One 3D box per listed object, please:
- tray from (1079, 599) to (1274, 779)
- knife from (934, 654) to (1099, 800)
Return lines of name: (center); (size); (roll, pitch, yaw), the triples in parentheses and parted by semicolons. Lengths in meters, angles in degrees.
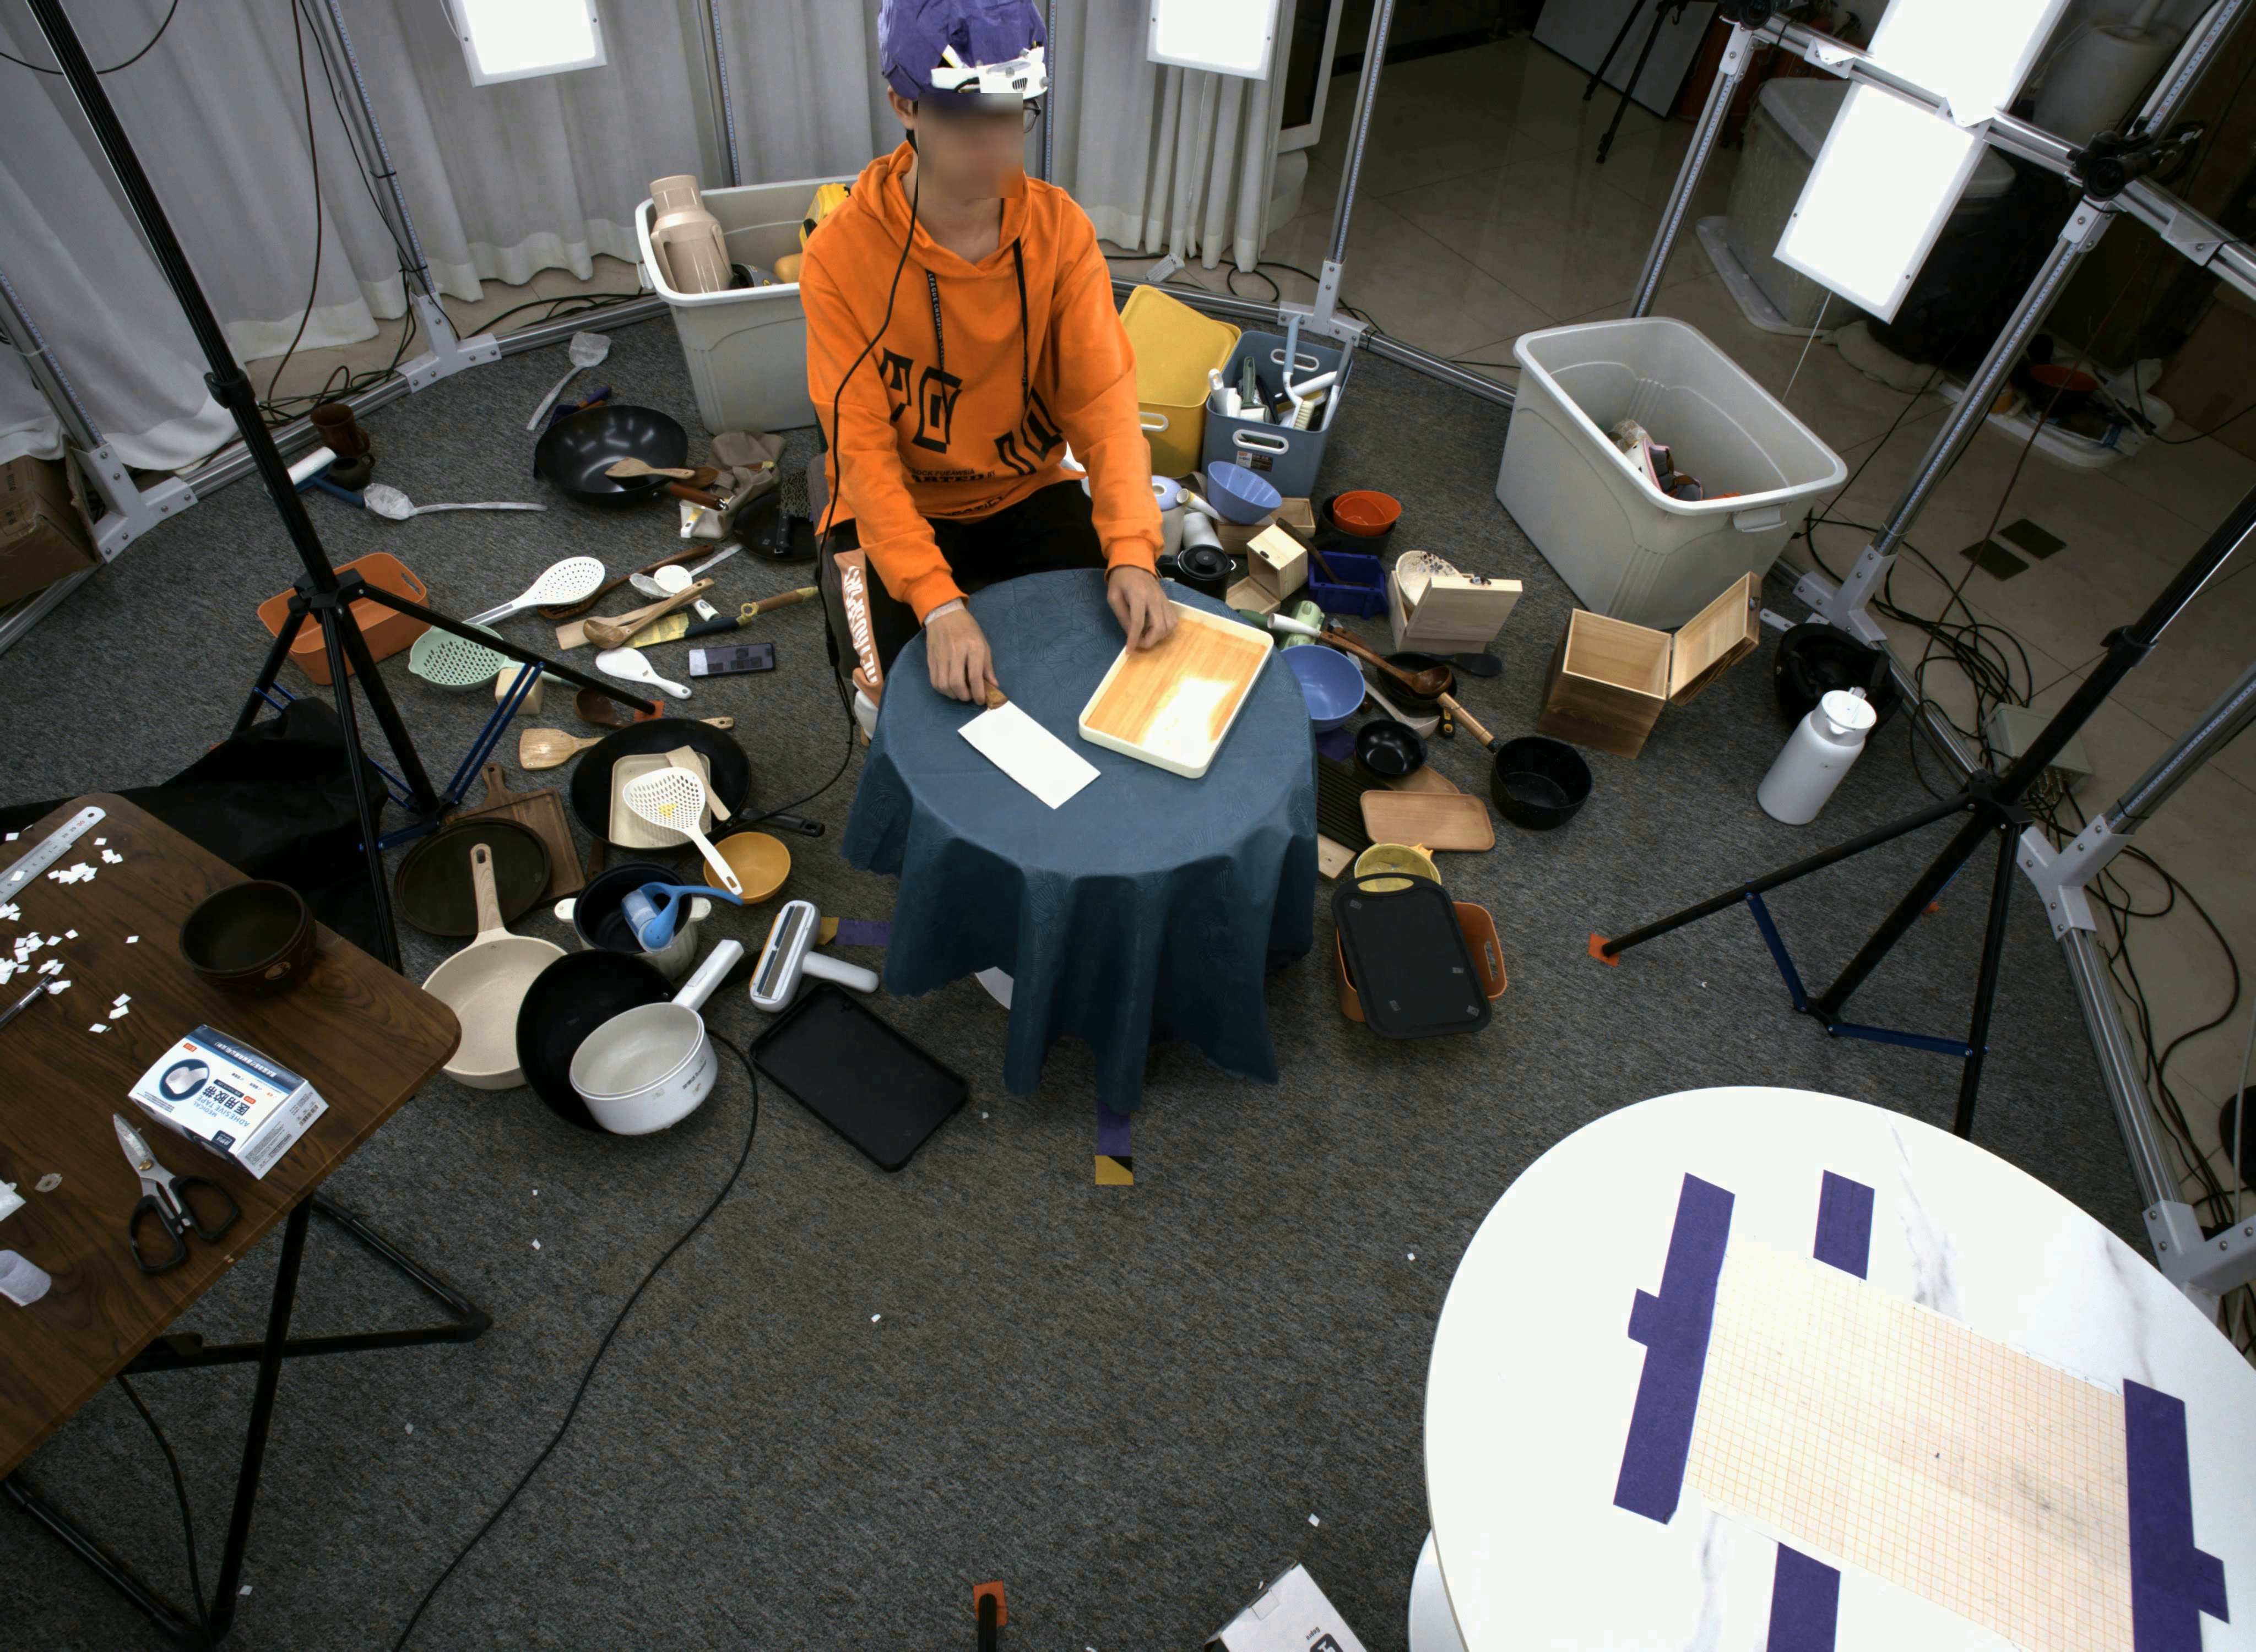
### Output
tray: (0.073, -0.202, 1.831); (0.192, 0.027, 0.306); (20, 51, 13)
knife: (-0.175, -0.135, 1.764); (0.310, 0.020, 0.094); (39, 59, 24)
